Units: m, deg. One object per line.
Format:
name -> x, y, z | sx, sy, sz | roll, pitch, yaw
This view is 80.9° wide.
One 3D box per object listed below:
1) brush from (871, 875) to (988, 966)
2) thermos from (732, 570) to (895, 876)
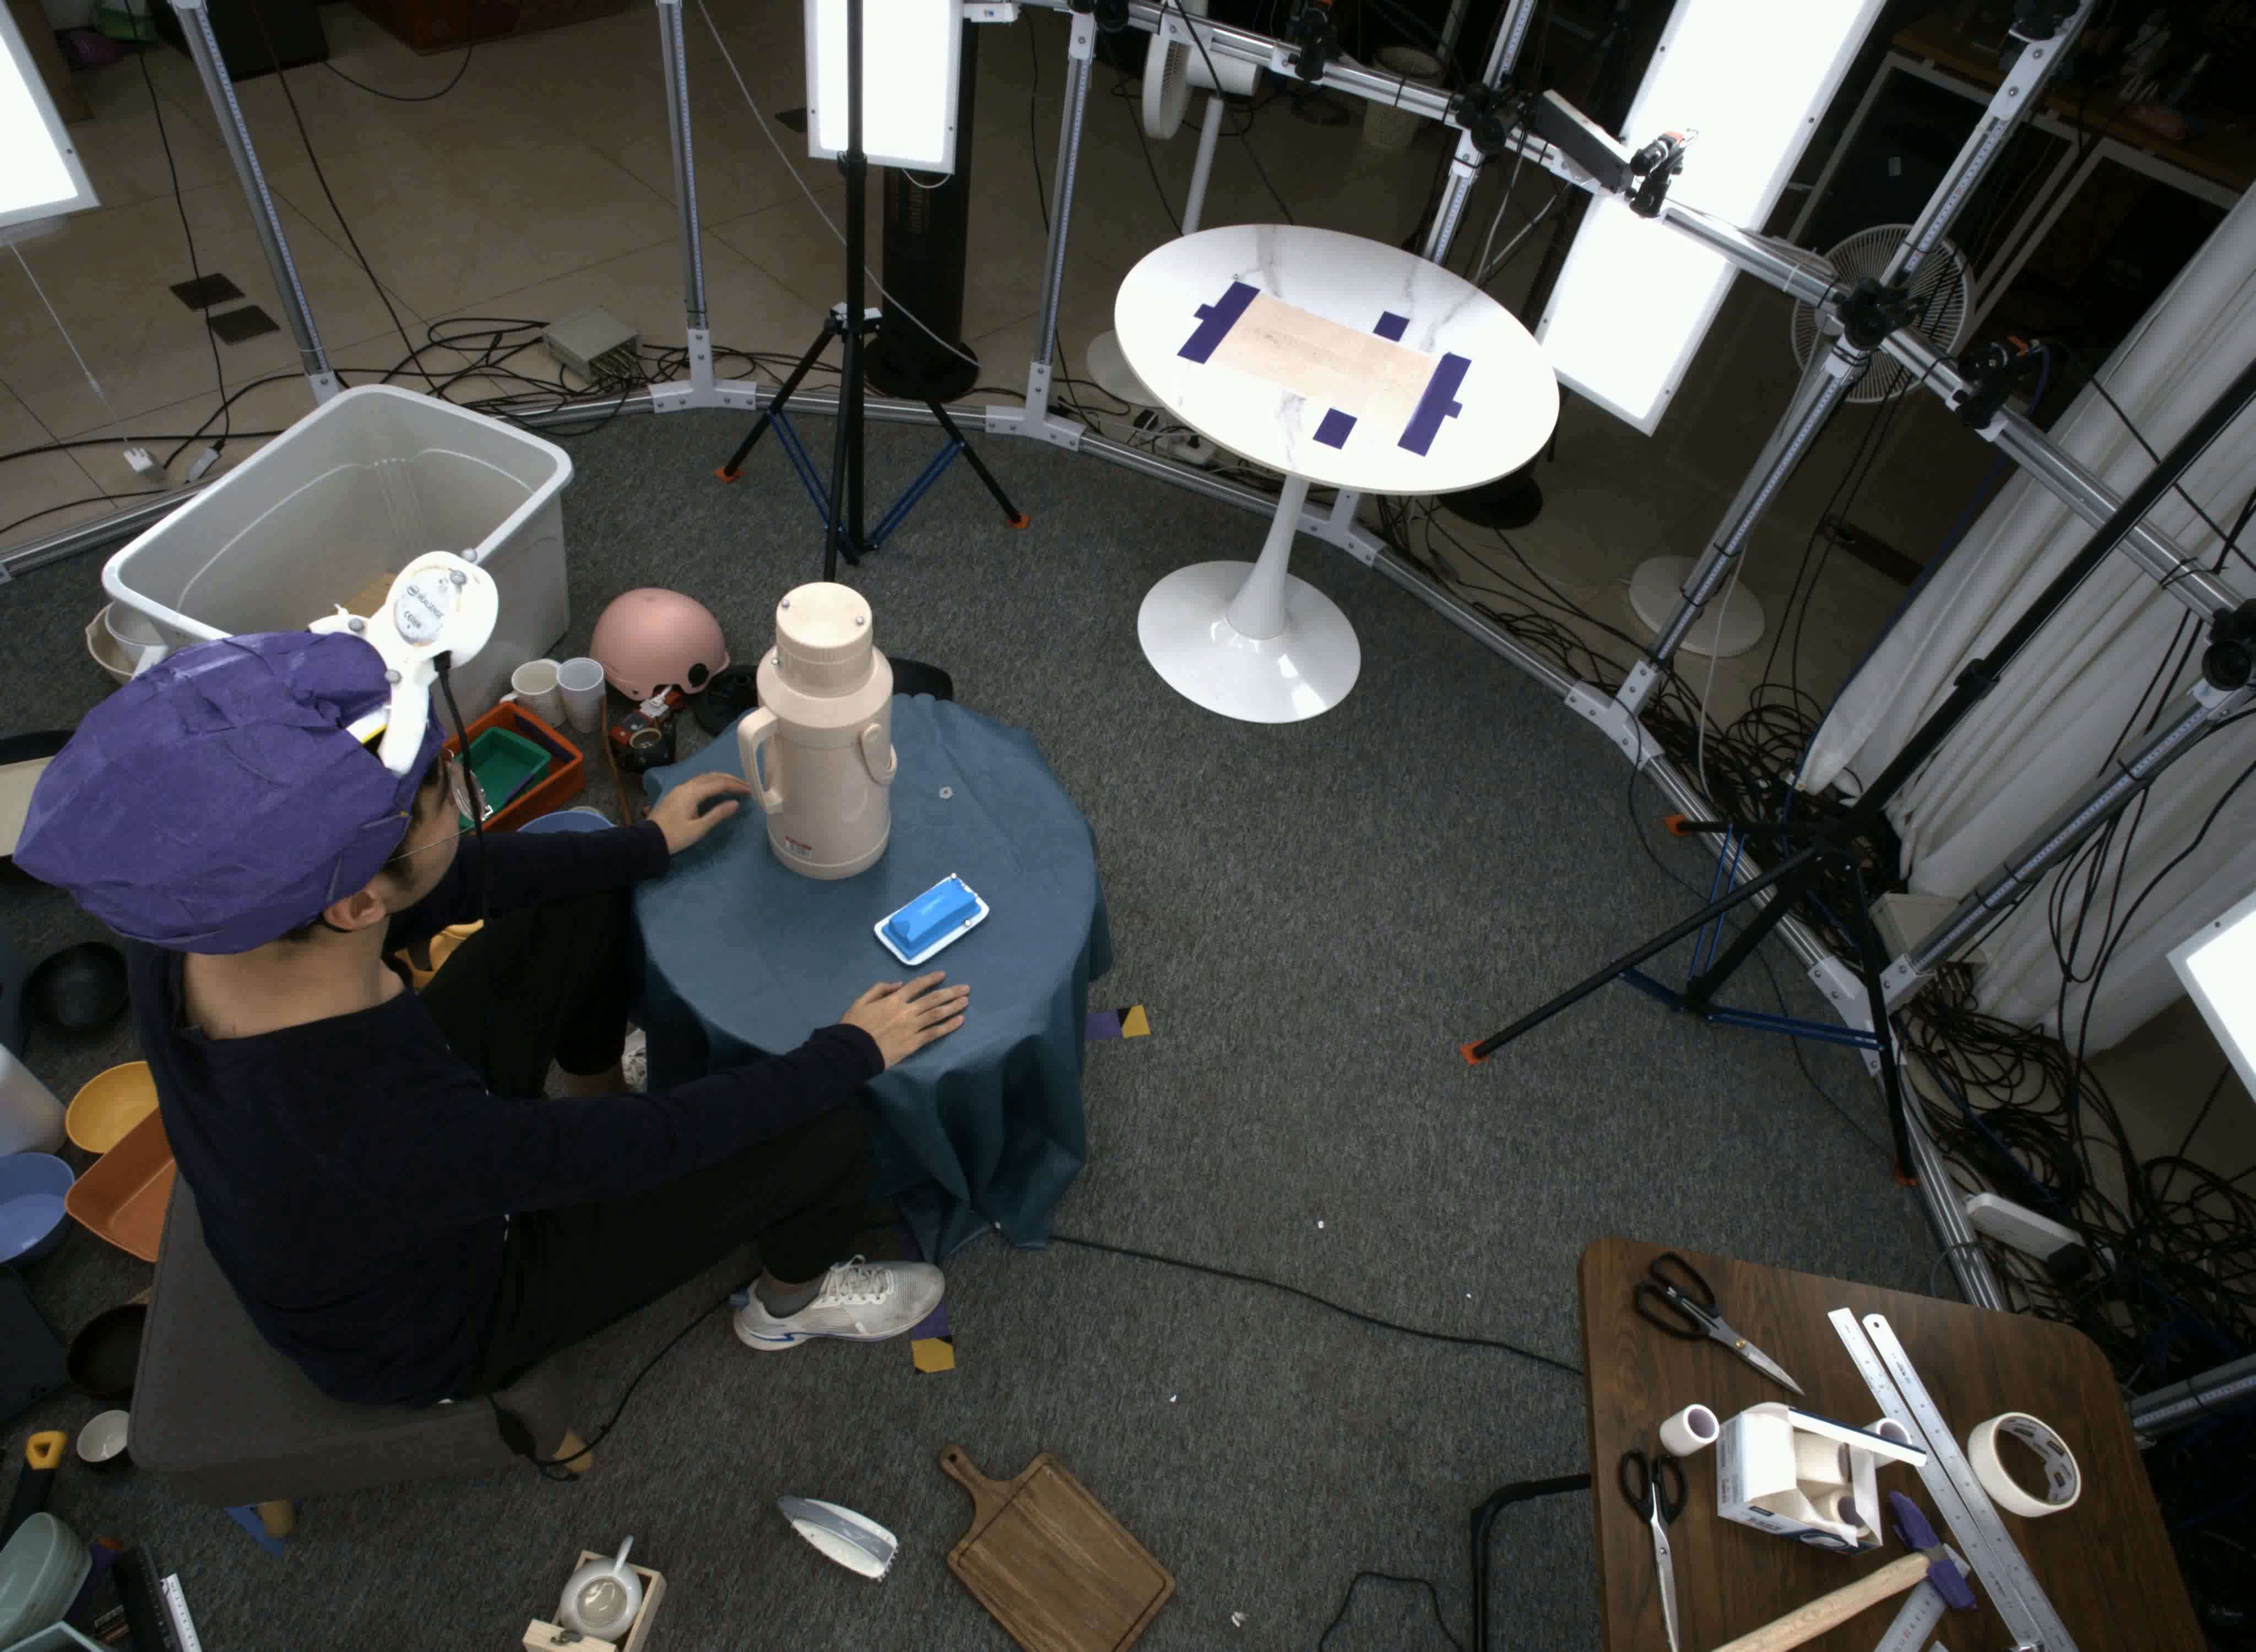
brush -> -0.250, 0.111, 1.647 | 0.144, 0.057, 0.081 | -32, 63, -34
thermos -> -0.380, -0.113, 1.564 | 0.171, 0.414, 0.207 | 40, 57, 18
